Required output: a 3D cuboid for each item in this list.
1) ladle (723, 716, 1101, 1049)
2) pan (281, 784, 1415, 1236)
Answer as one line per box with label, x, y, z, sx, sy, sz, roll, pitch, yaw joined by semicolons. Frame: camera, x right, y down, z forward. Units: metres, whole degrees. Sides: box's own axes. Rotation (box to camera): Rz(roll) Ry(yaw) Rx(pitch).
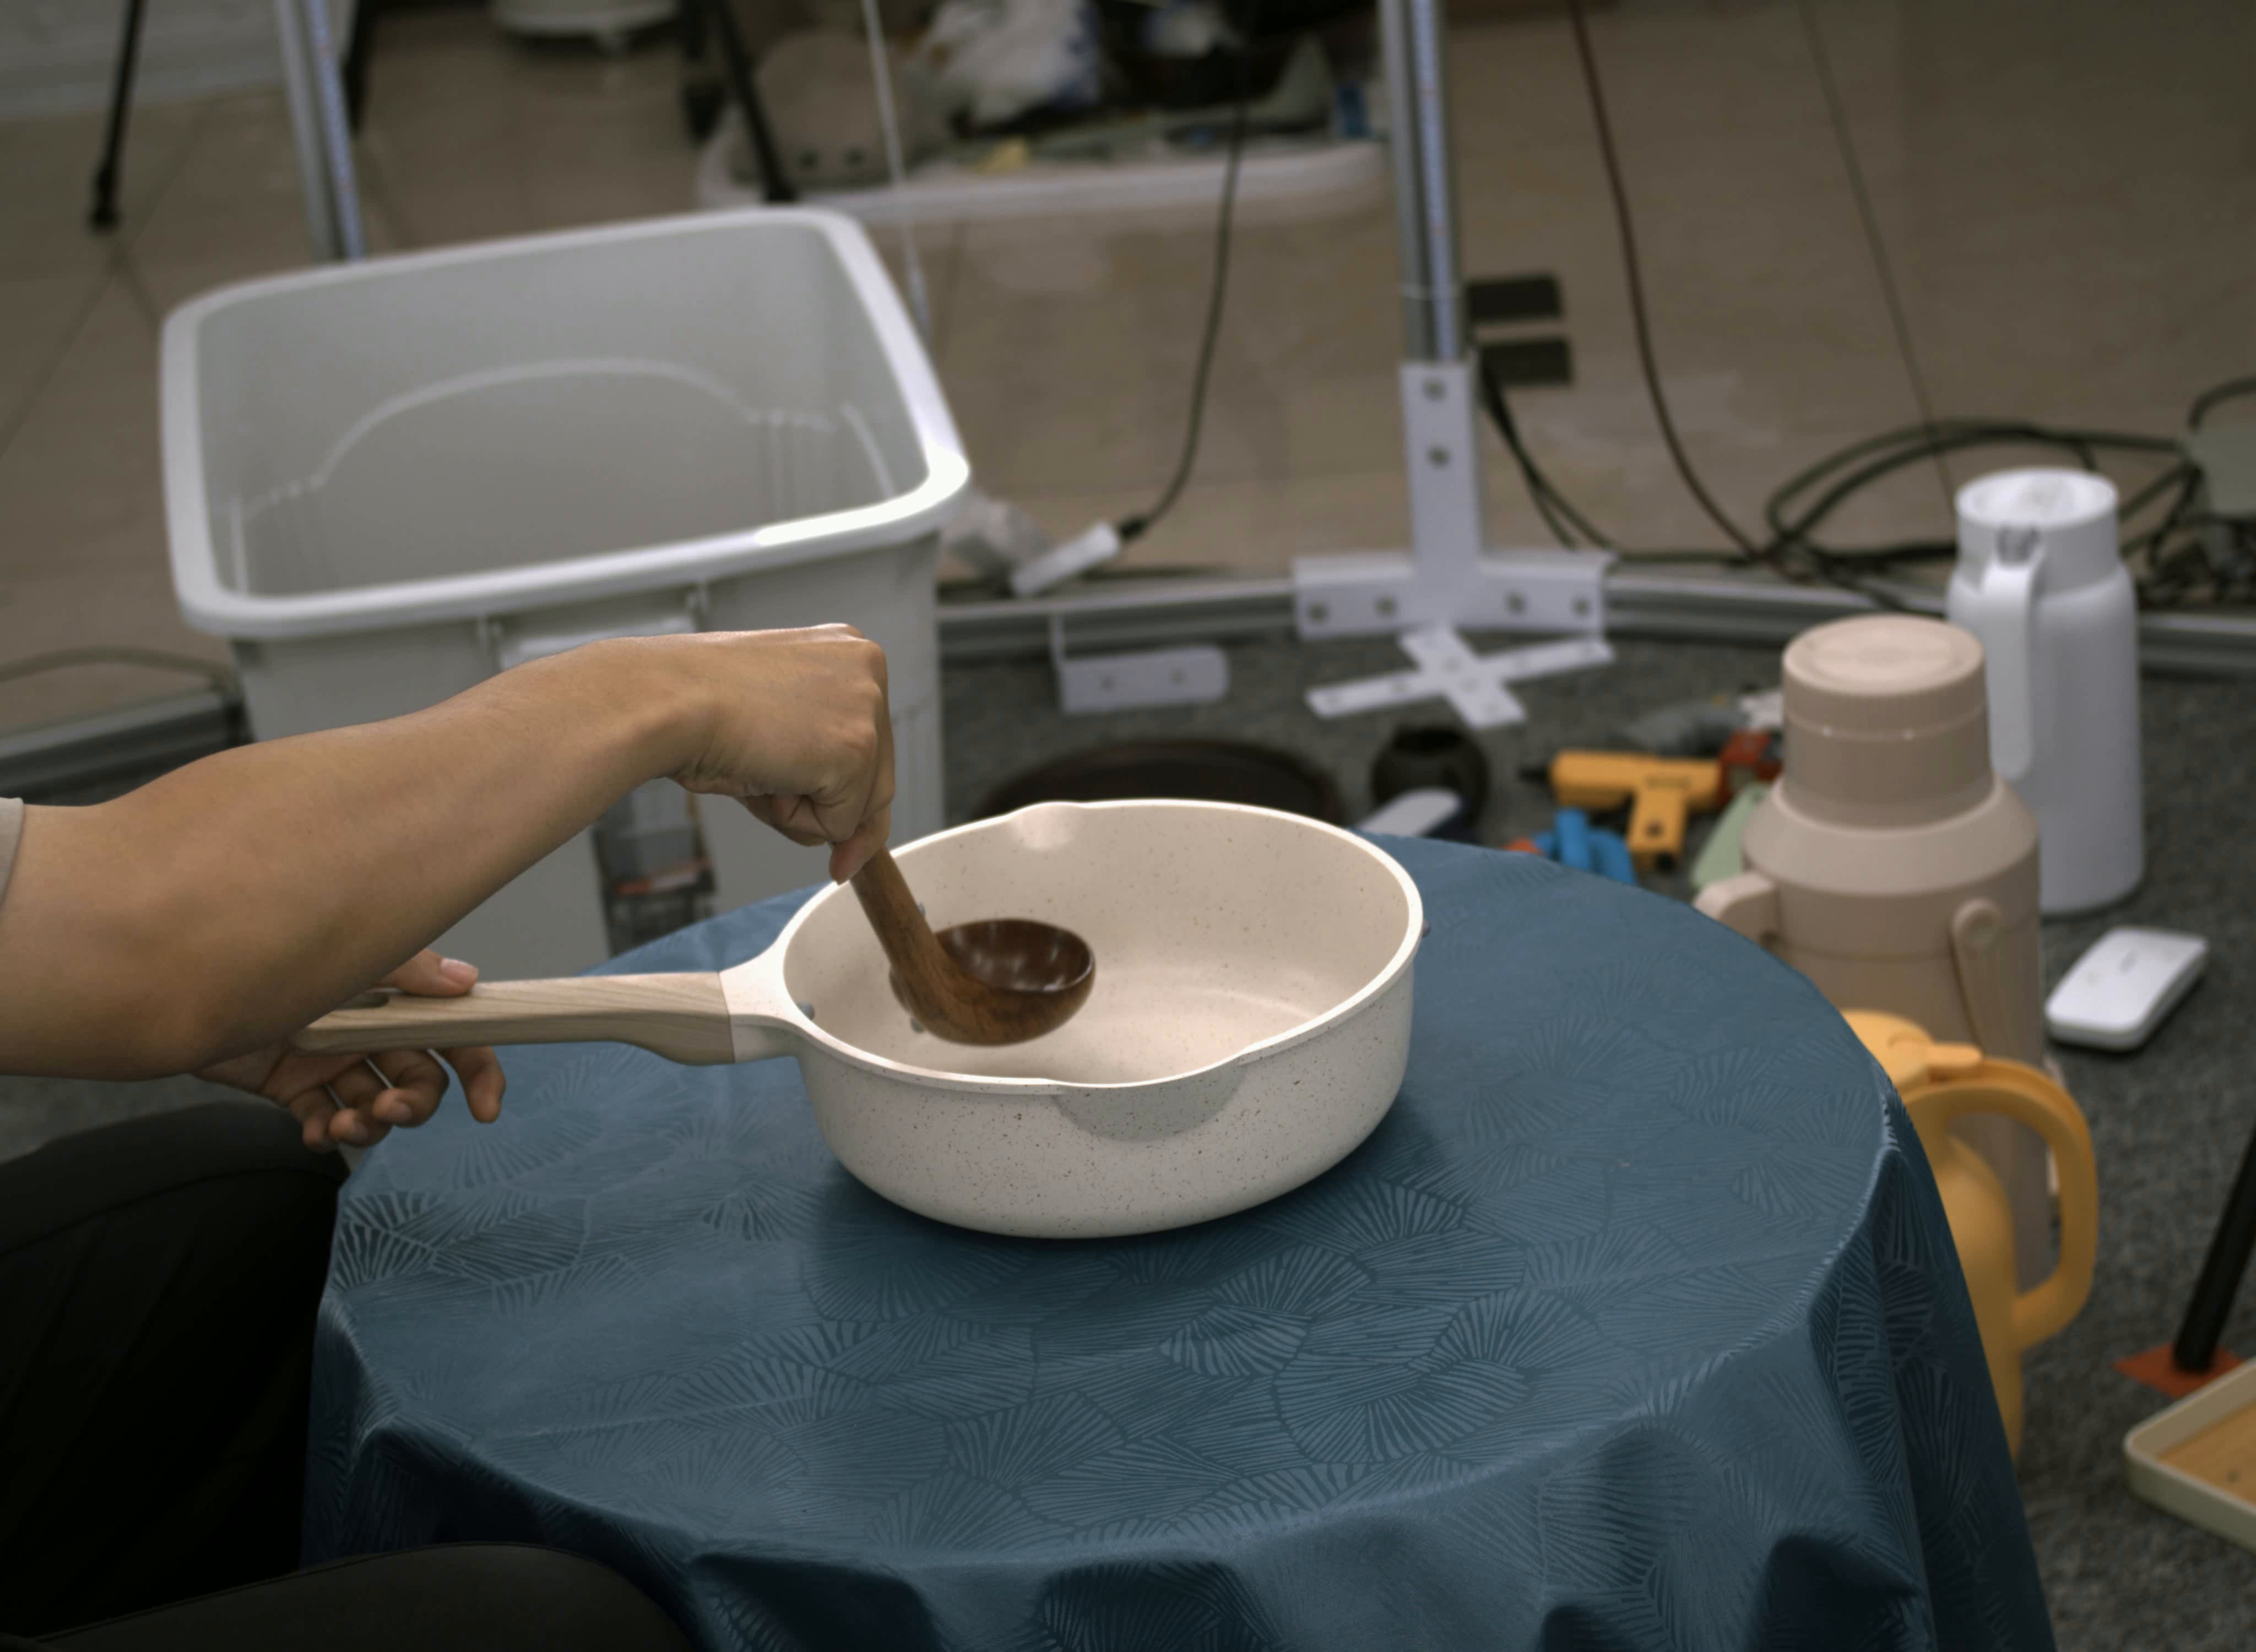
ladle;-0.082;0.007;2.113;0.082;0.278;0.075;2;60;21
pan;-0.102;0.083;2.177;0.434;0.103;0.259;-10;27;-7
